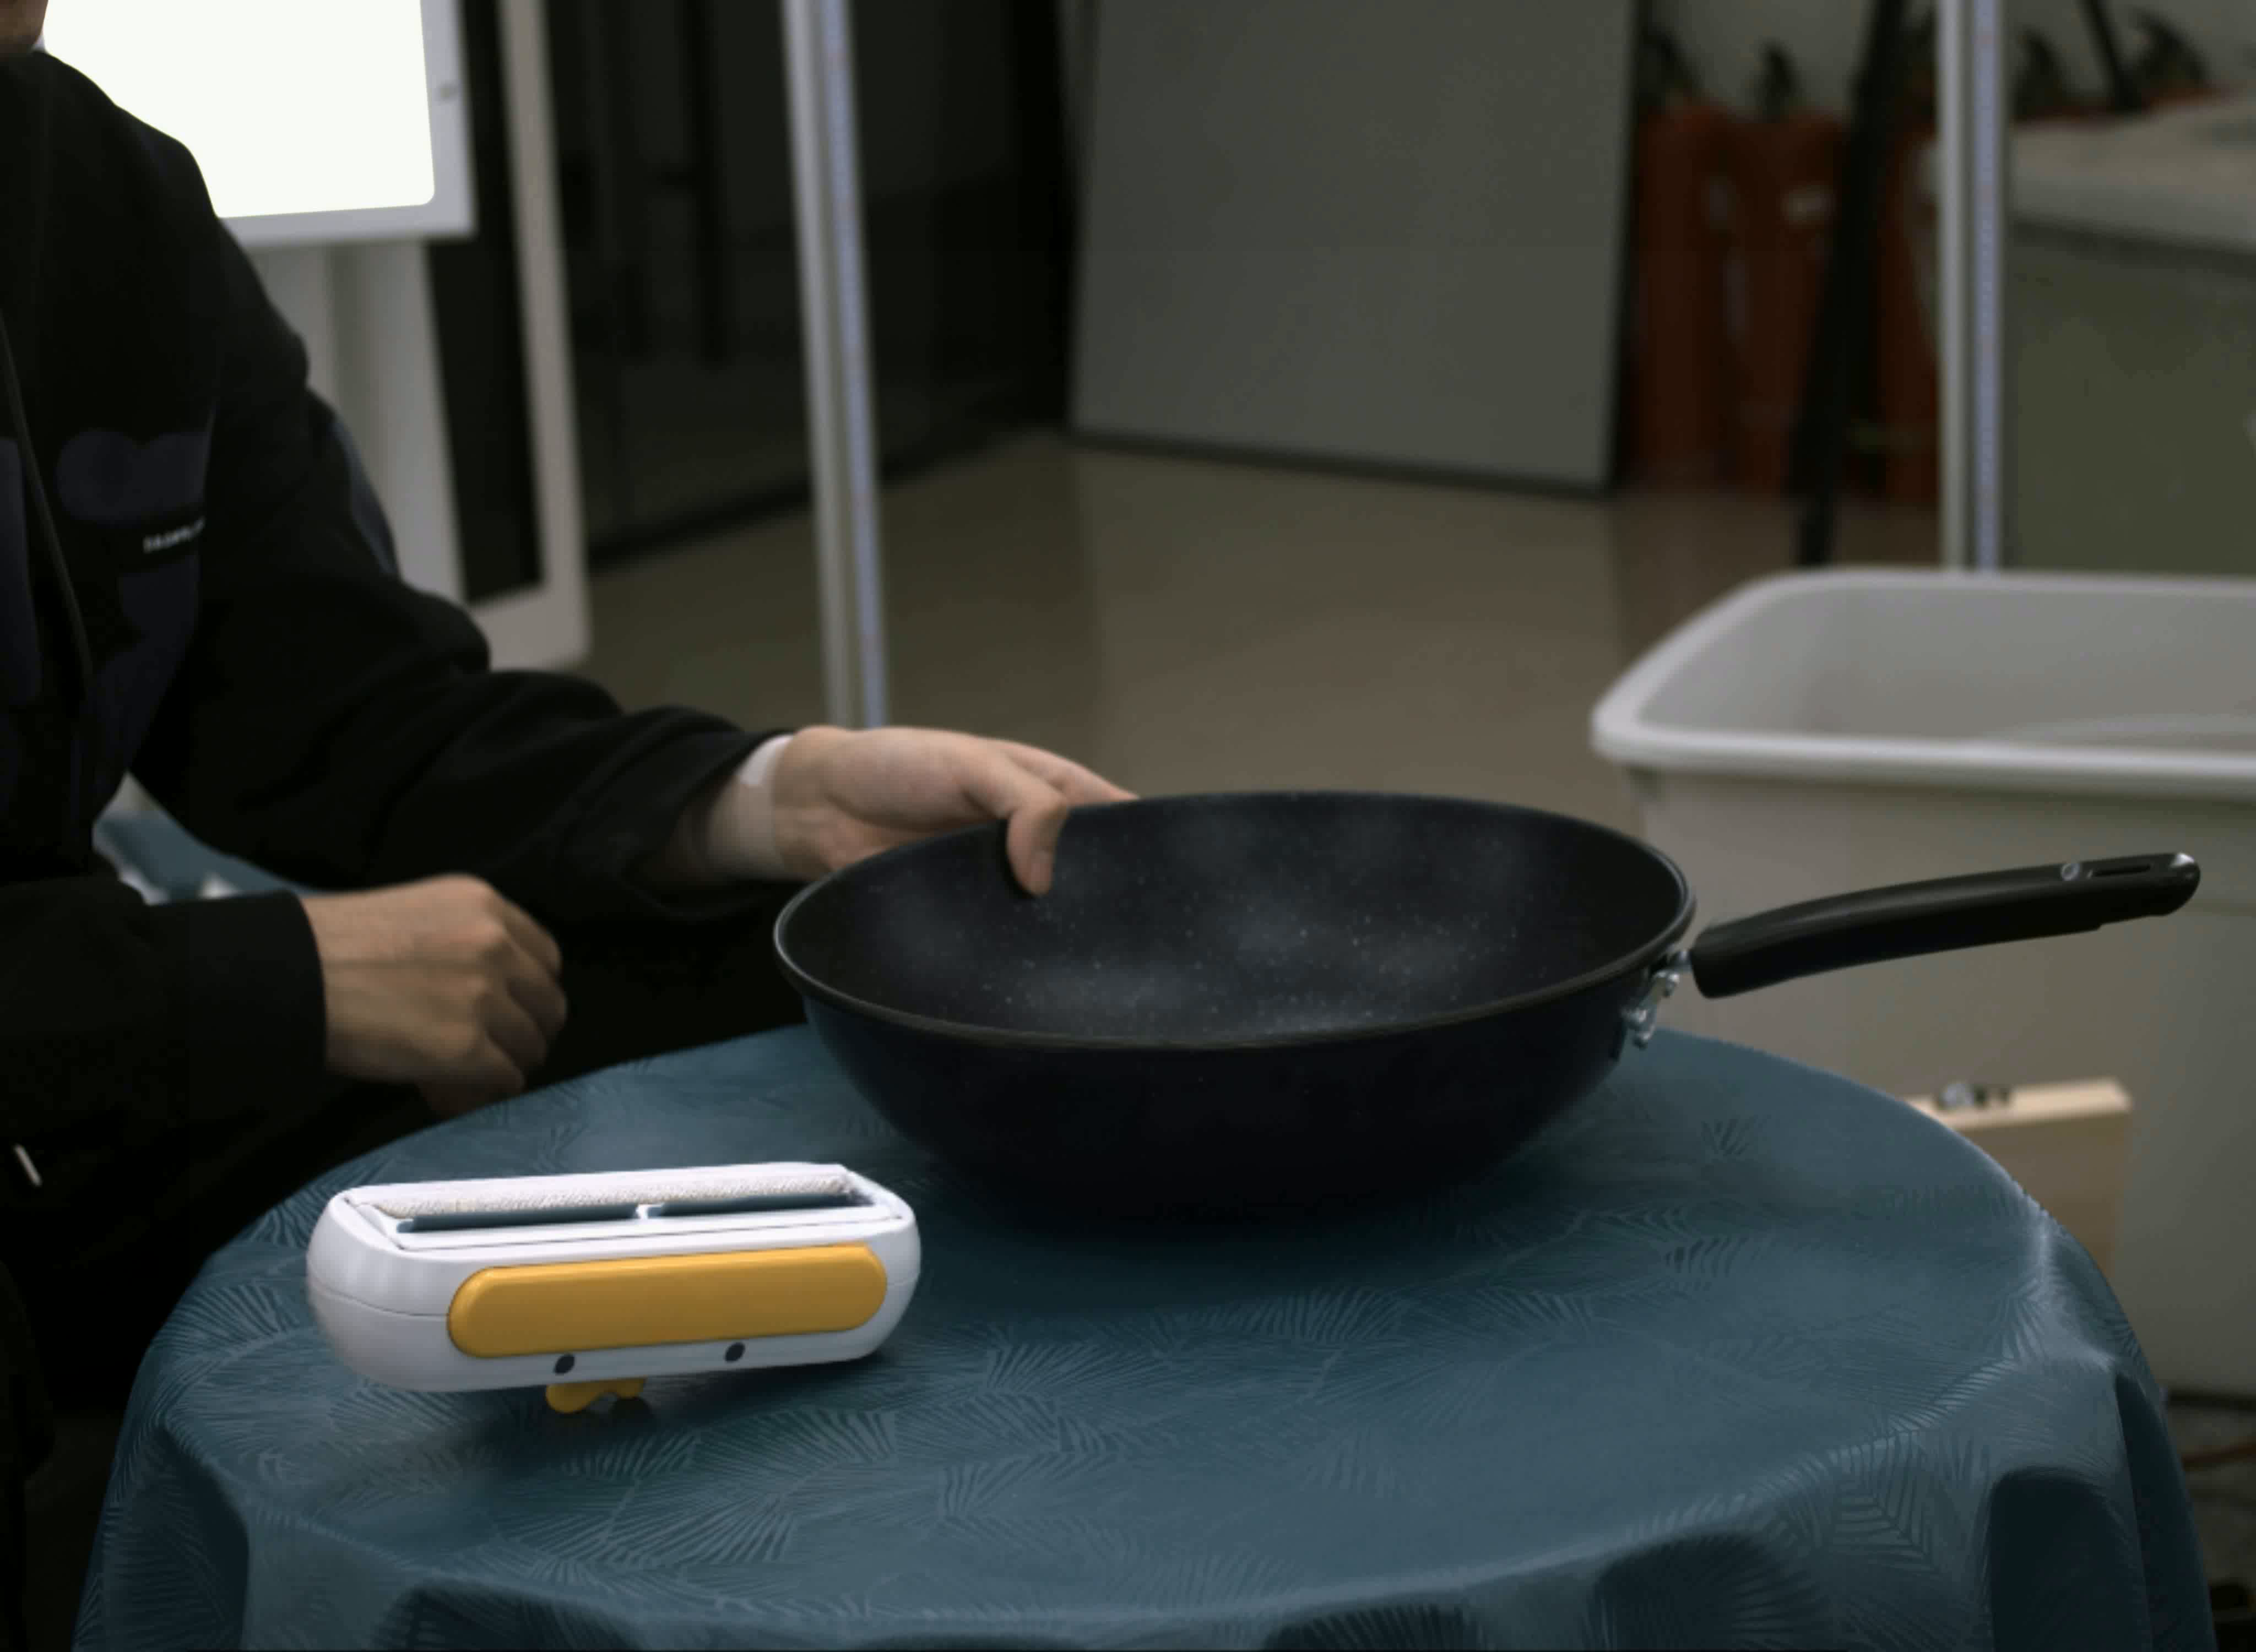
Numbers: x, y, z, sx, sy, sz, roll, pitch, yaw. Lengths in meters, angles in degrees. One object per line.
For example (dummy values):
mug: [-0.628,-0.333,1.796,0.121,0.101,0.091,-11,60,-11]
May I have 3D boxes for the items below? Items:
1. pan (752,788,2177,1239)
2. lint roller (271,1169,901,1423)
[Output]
pan: [0.107,0.059,1.766,0.476,0.113,0.307,1,16,21]
lint roller: [-0.185,0.131,1.645,0.188,0.075,0.194,-5,11,-28]
